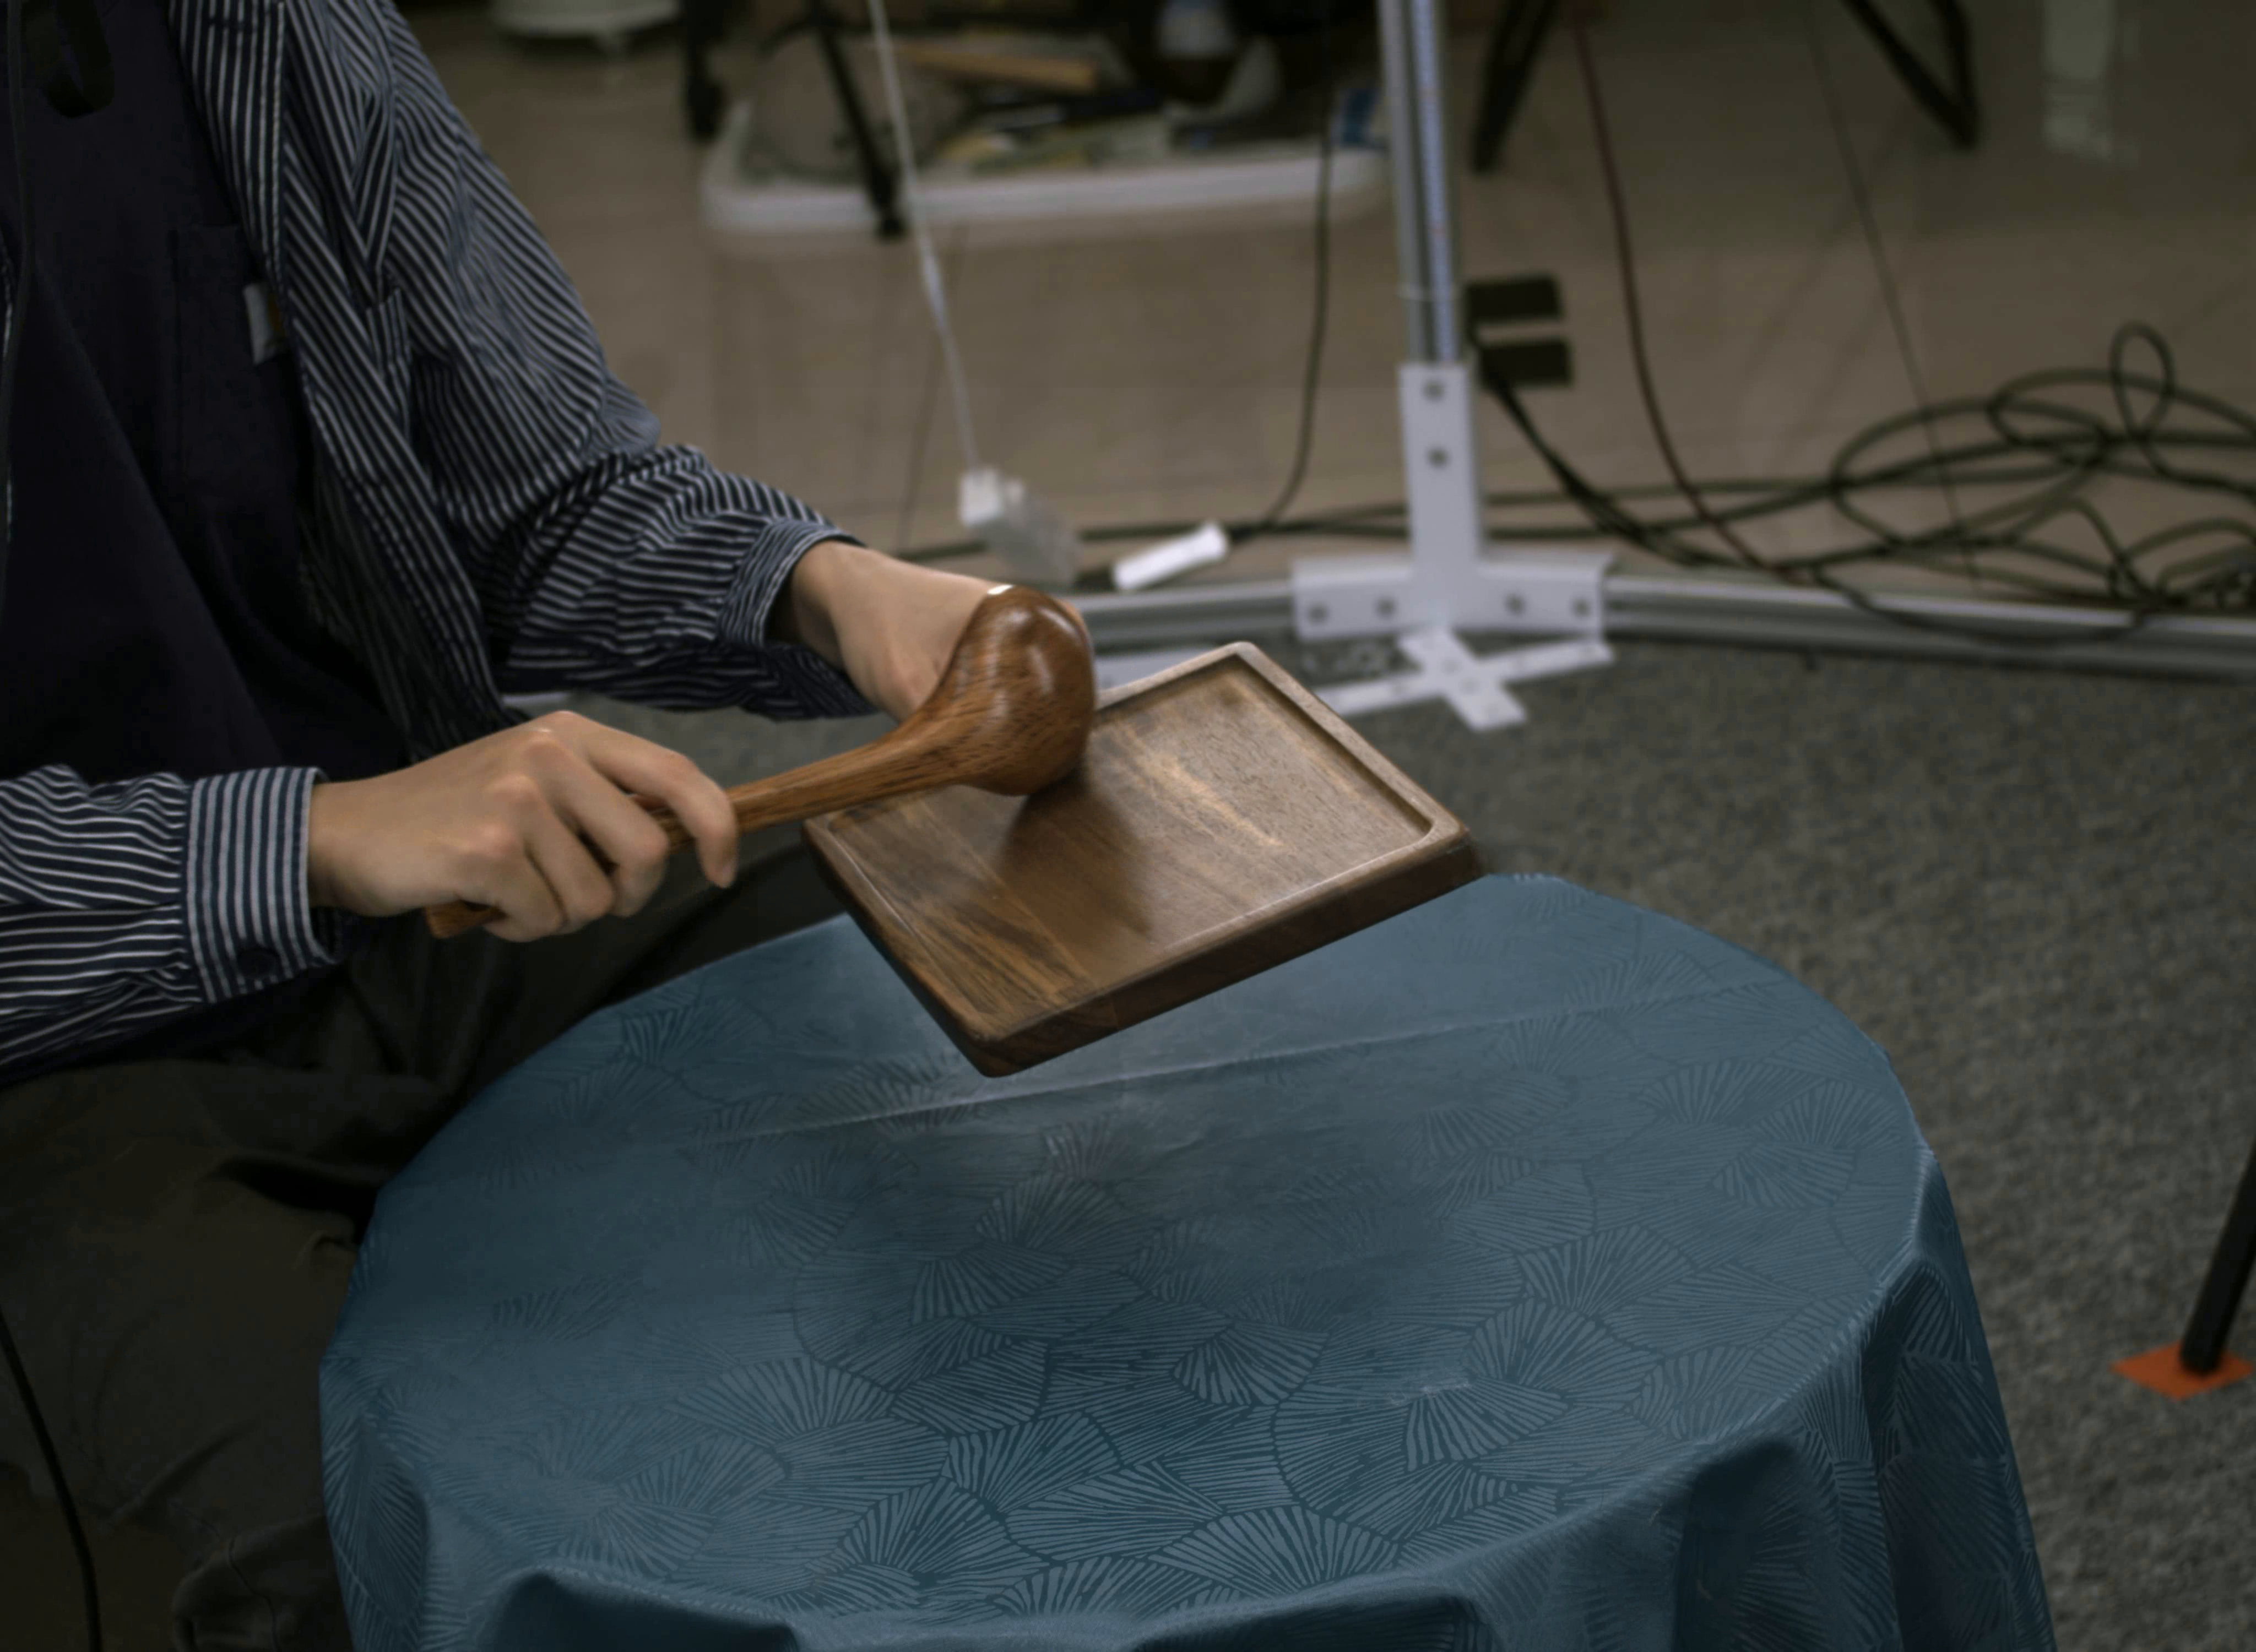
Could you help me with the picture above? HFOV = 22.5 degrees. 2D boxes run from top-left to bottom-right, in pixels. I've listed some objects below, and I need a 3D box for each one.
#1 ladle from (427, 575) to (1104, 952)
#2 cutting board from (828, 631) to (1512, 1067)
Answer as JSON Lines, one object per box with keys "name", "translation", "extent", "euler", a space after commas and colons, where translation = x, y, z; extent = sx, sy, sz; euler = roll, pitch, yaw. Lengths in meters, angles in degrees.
{"name": "ladle", "translation": [-0.137, -0.021, 2.141], "extent": [0.273, 0.083, 0.076], "euler": [-19, 21, -5]}
{"name": "cutting board", "translation": [-0.004, -0.012, 2.155], "extent": [0.200, 0.023, 0.348], "euler": [-22, 24, -10]}
